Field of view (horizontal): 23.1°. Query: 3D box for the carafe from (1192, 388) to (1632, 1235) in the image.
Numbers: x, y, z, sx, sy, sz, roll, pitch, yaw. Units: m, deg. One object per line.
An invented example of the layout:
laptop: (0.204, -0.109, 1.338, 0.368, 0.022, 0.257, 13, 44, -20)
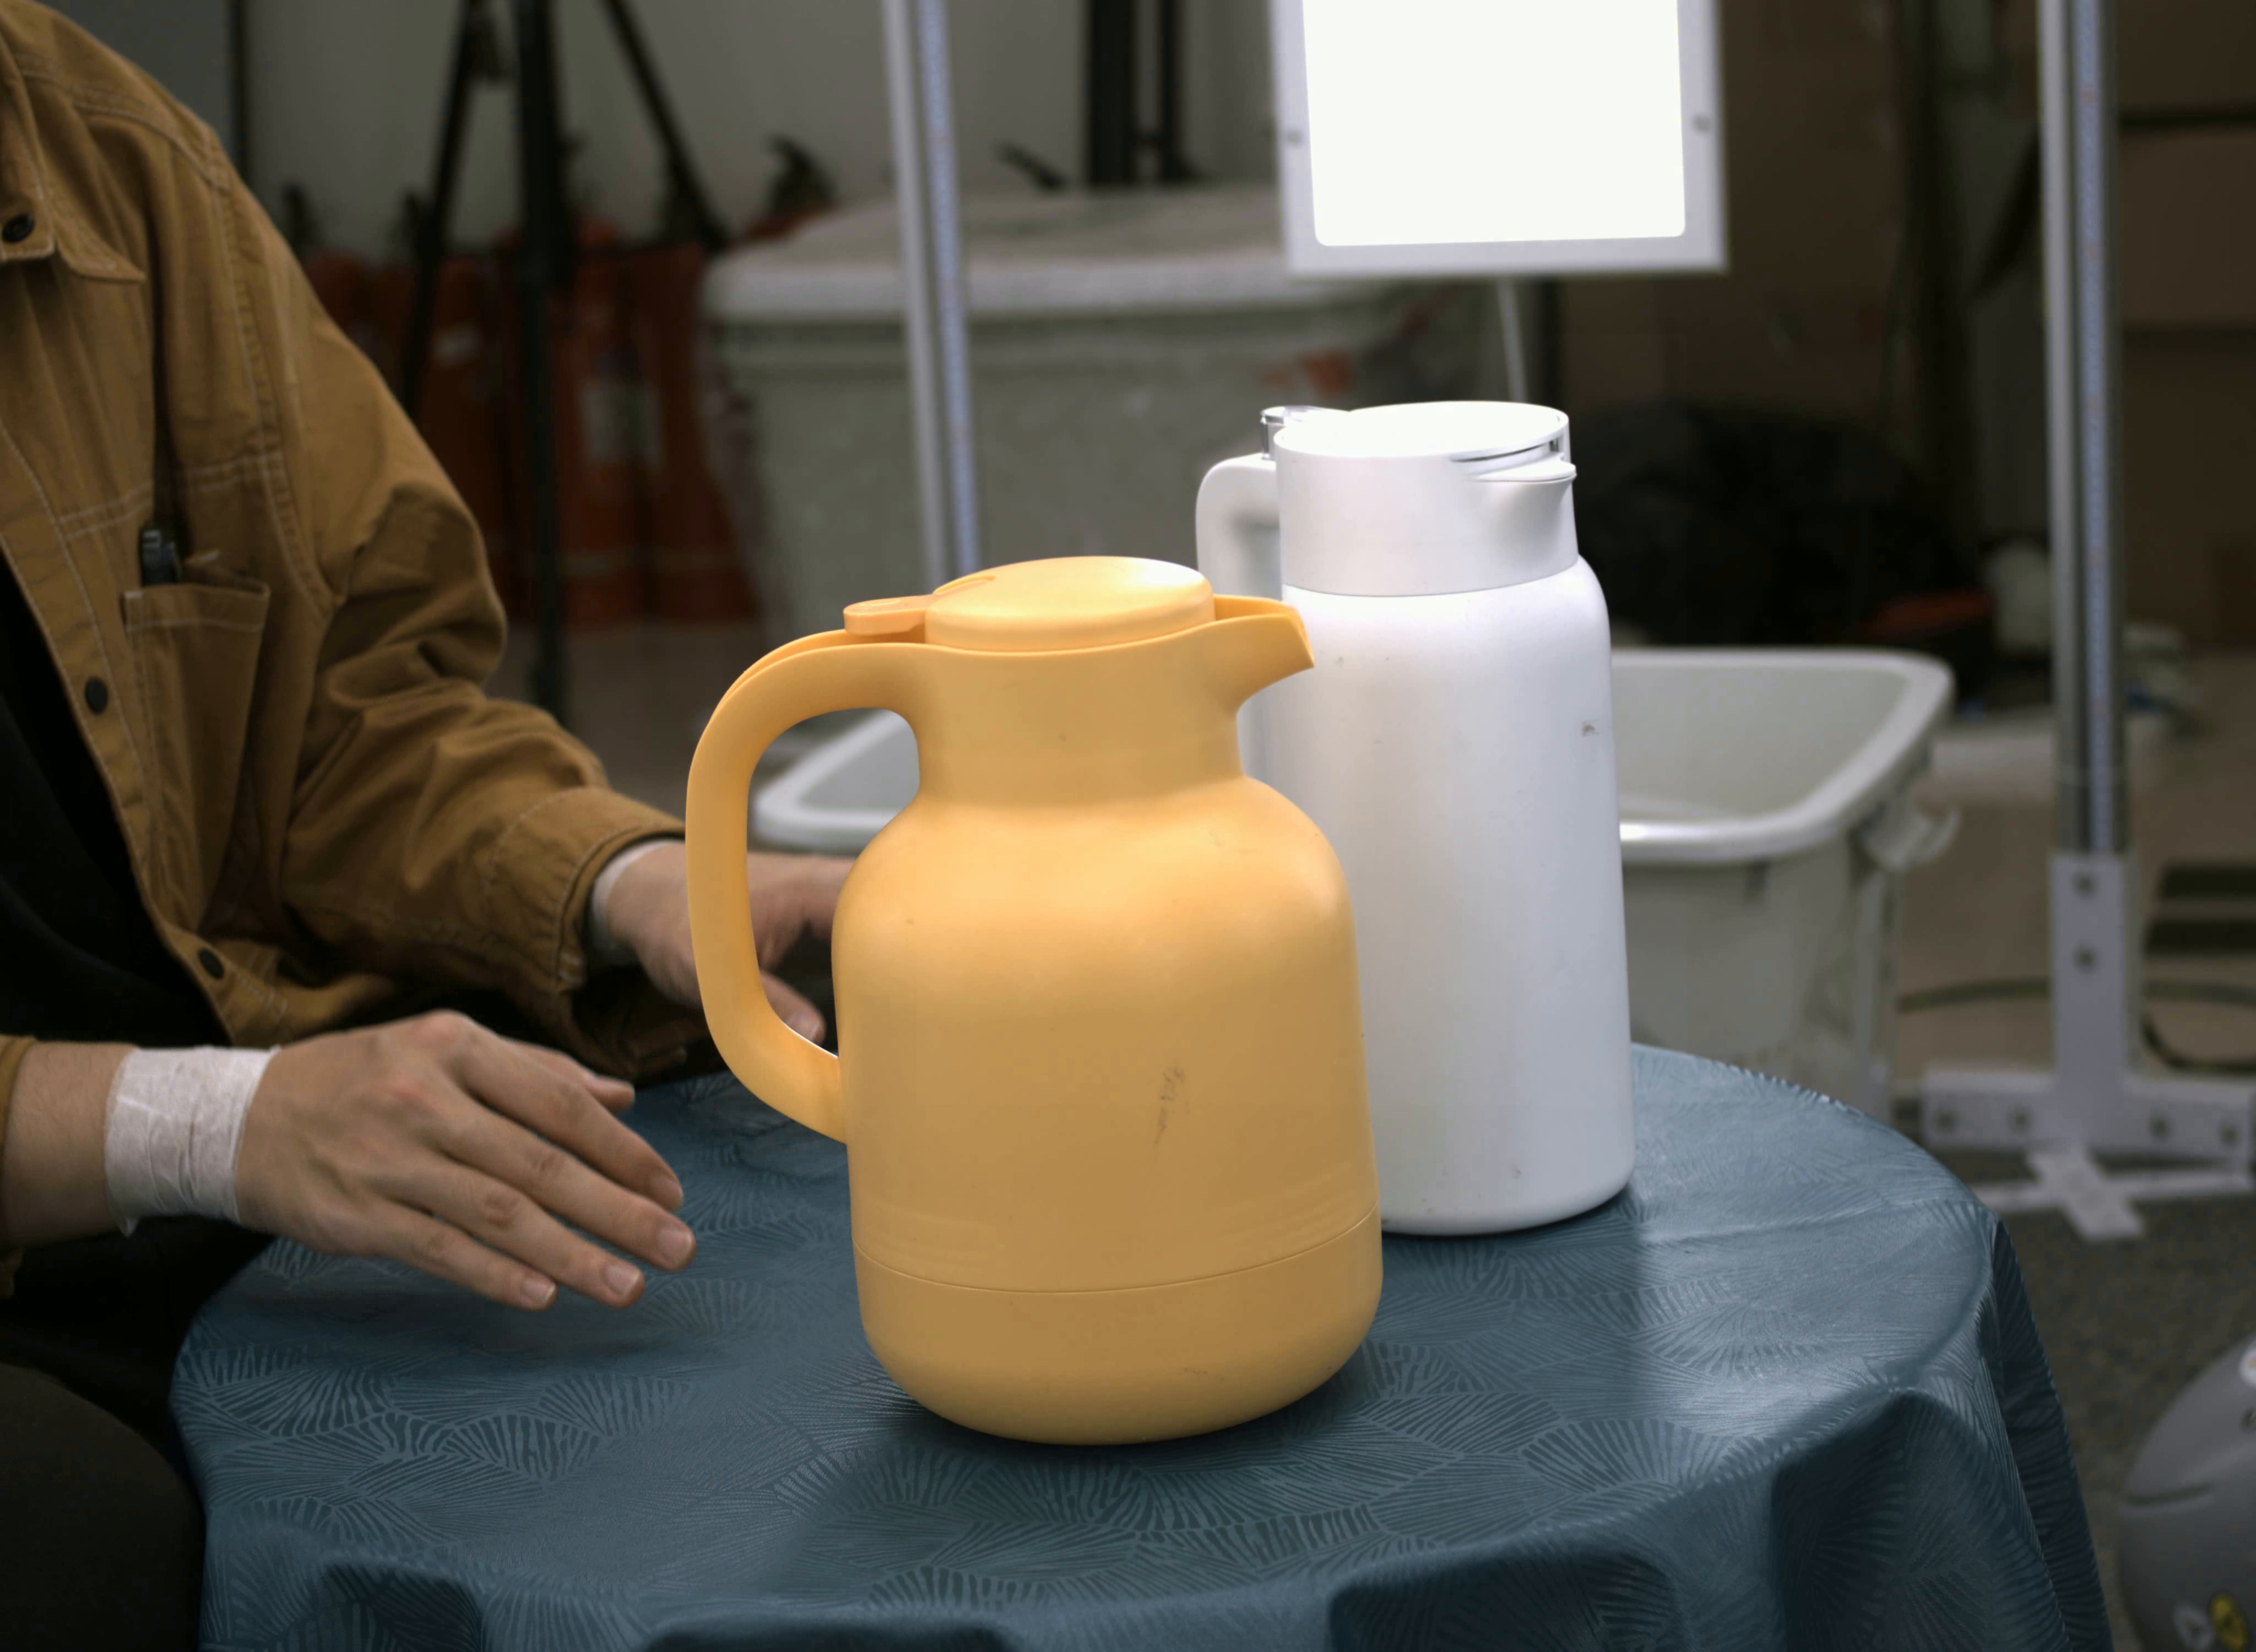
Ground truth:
carafe: (0.093, -0.007, 1.847, 0.121, 0.270, 0.176, -18, 19, -37)

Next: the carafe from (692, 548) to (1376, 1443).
carafe: (-0.029, 0.048, 1.678, 0.203, 0.261, 0.162, -2, 11, 6)
